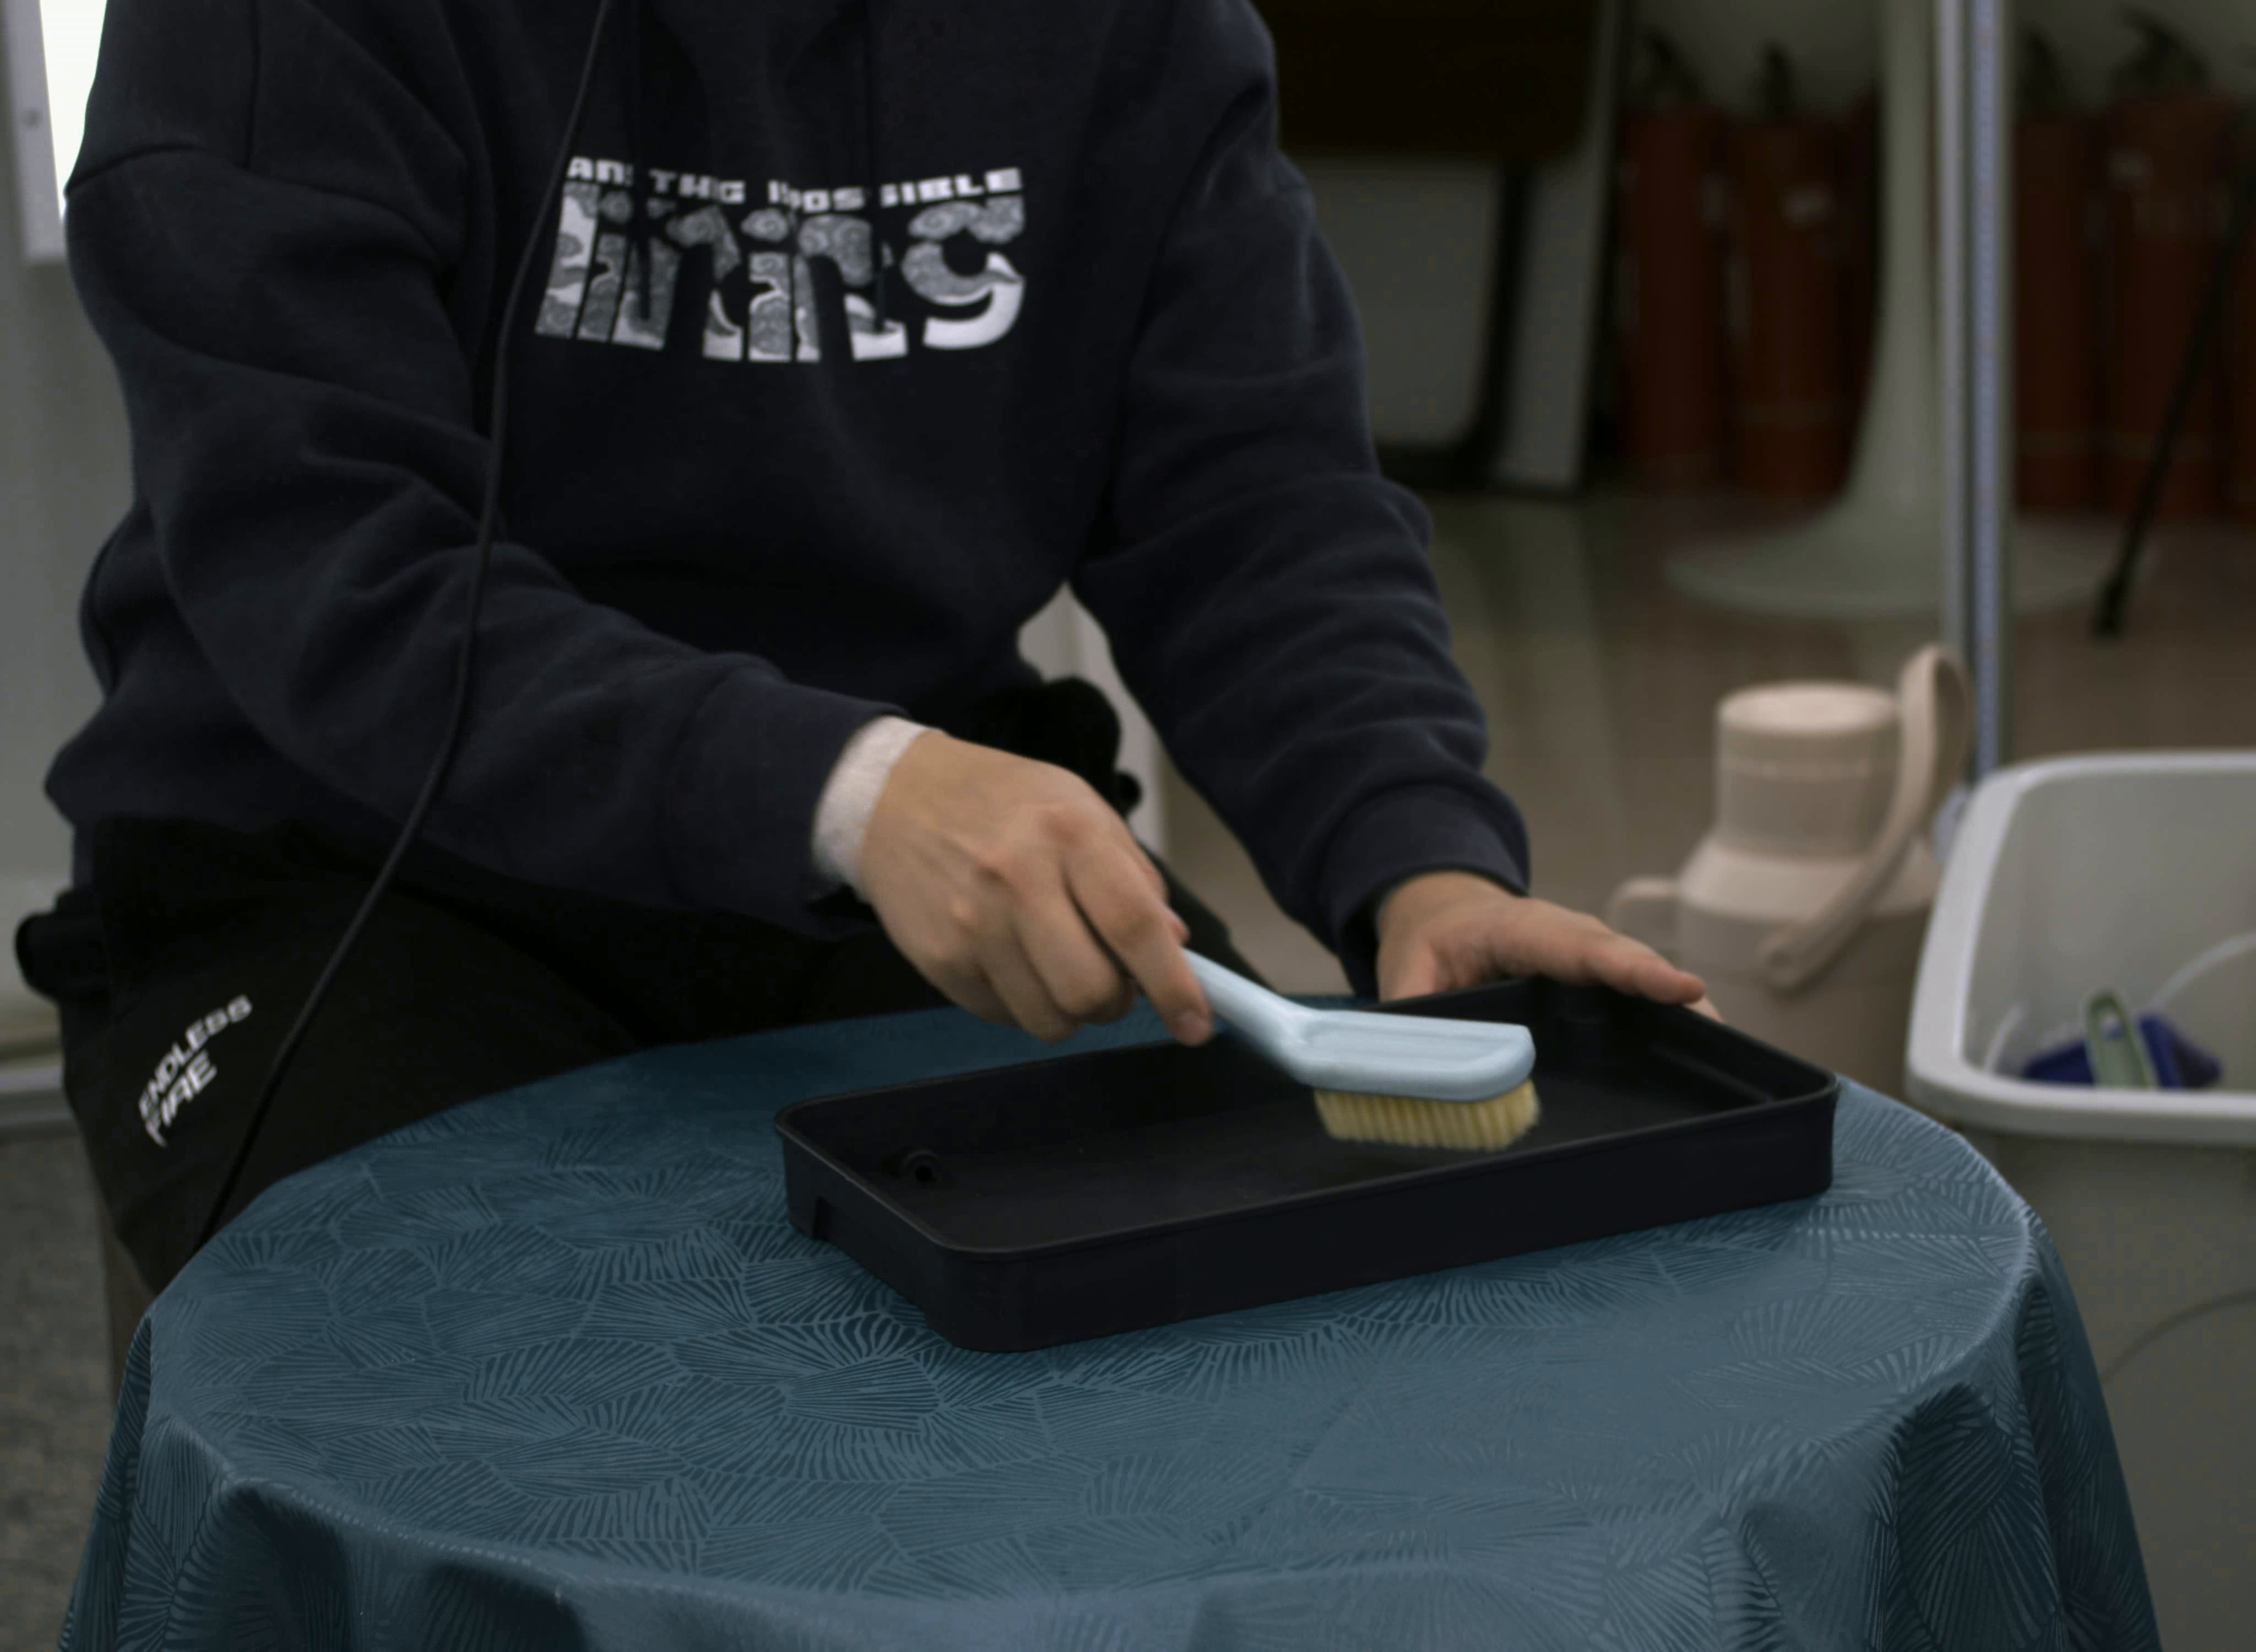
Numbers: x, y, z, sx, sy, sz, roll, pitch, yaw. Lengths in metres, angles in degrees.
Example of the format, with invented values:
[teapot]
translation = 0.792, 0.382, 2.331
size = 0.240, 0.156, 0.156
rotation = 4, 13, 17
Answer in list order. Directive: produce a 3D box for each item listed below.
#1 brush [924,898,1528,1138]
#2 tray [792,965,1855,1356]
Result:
[brush]
translation = 0.030, 0.064, 1.786
size = 0.230, 0.050, 0.037
rotation = 14, 41, 30
[tray]
translation = 0.064, 0.104, 1.751
size = 0.311, 0.037, 0.186
rotation = -10, 14, -23
